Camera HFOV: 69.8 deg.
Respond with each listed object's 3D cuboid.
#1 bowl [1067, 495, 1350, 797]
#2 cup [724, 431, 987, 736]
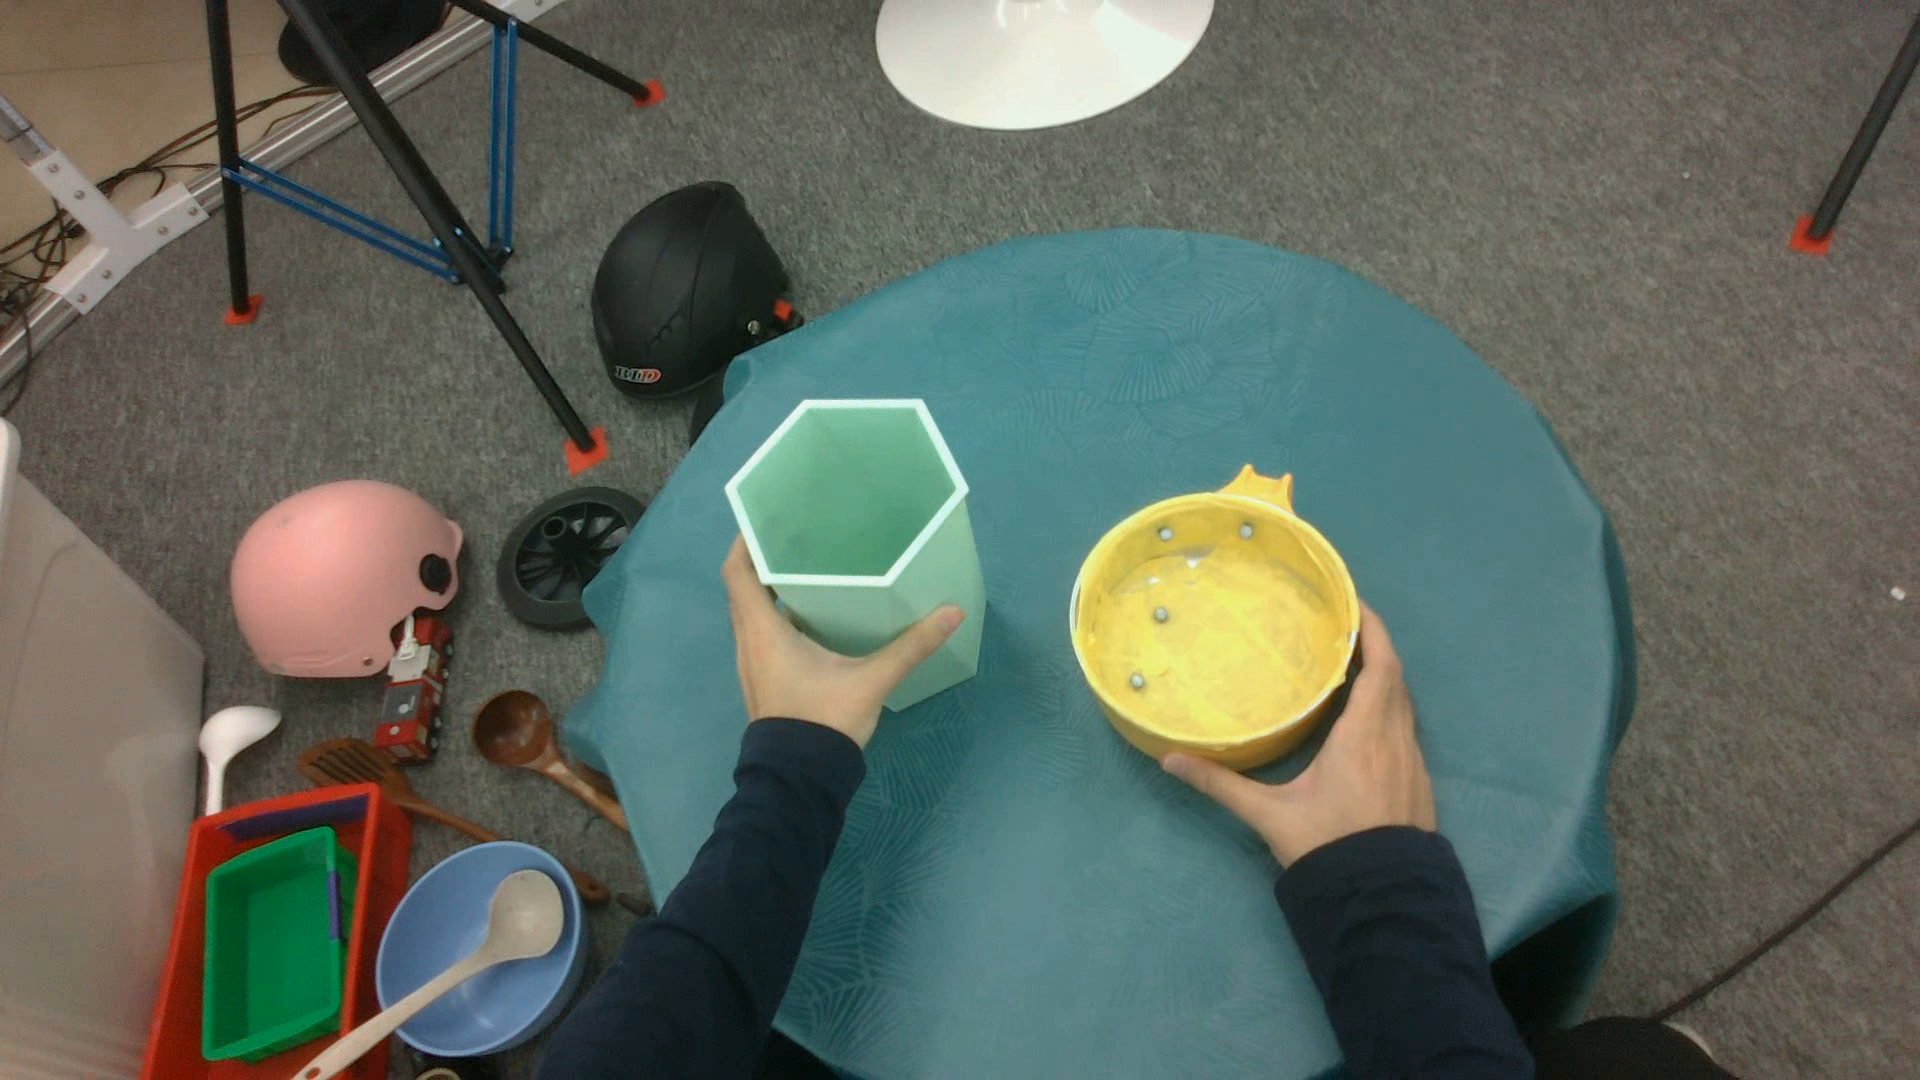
[{"bbox_3d":[0.145,0.060,0.785,0.153,0.074,0.180,12,62,19],"label":"bowl"},{"bbox_3d":[-0.047,0.032,0.786,0.131,0.162,0.115,-3,58,12],"label":"cup"}]
